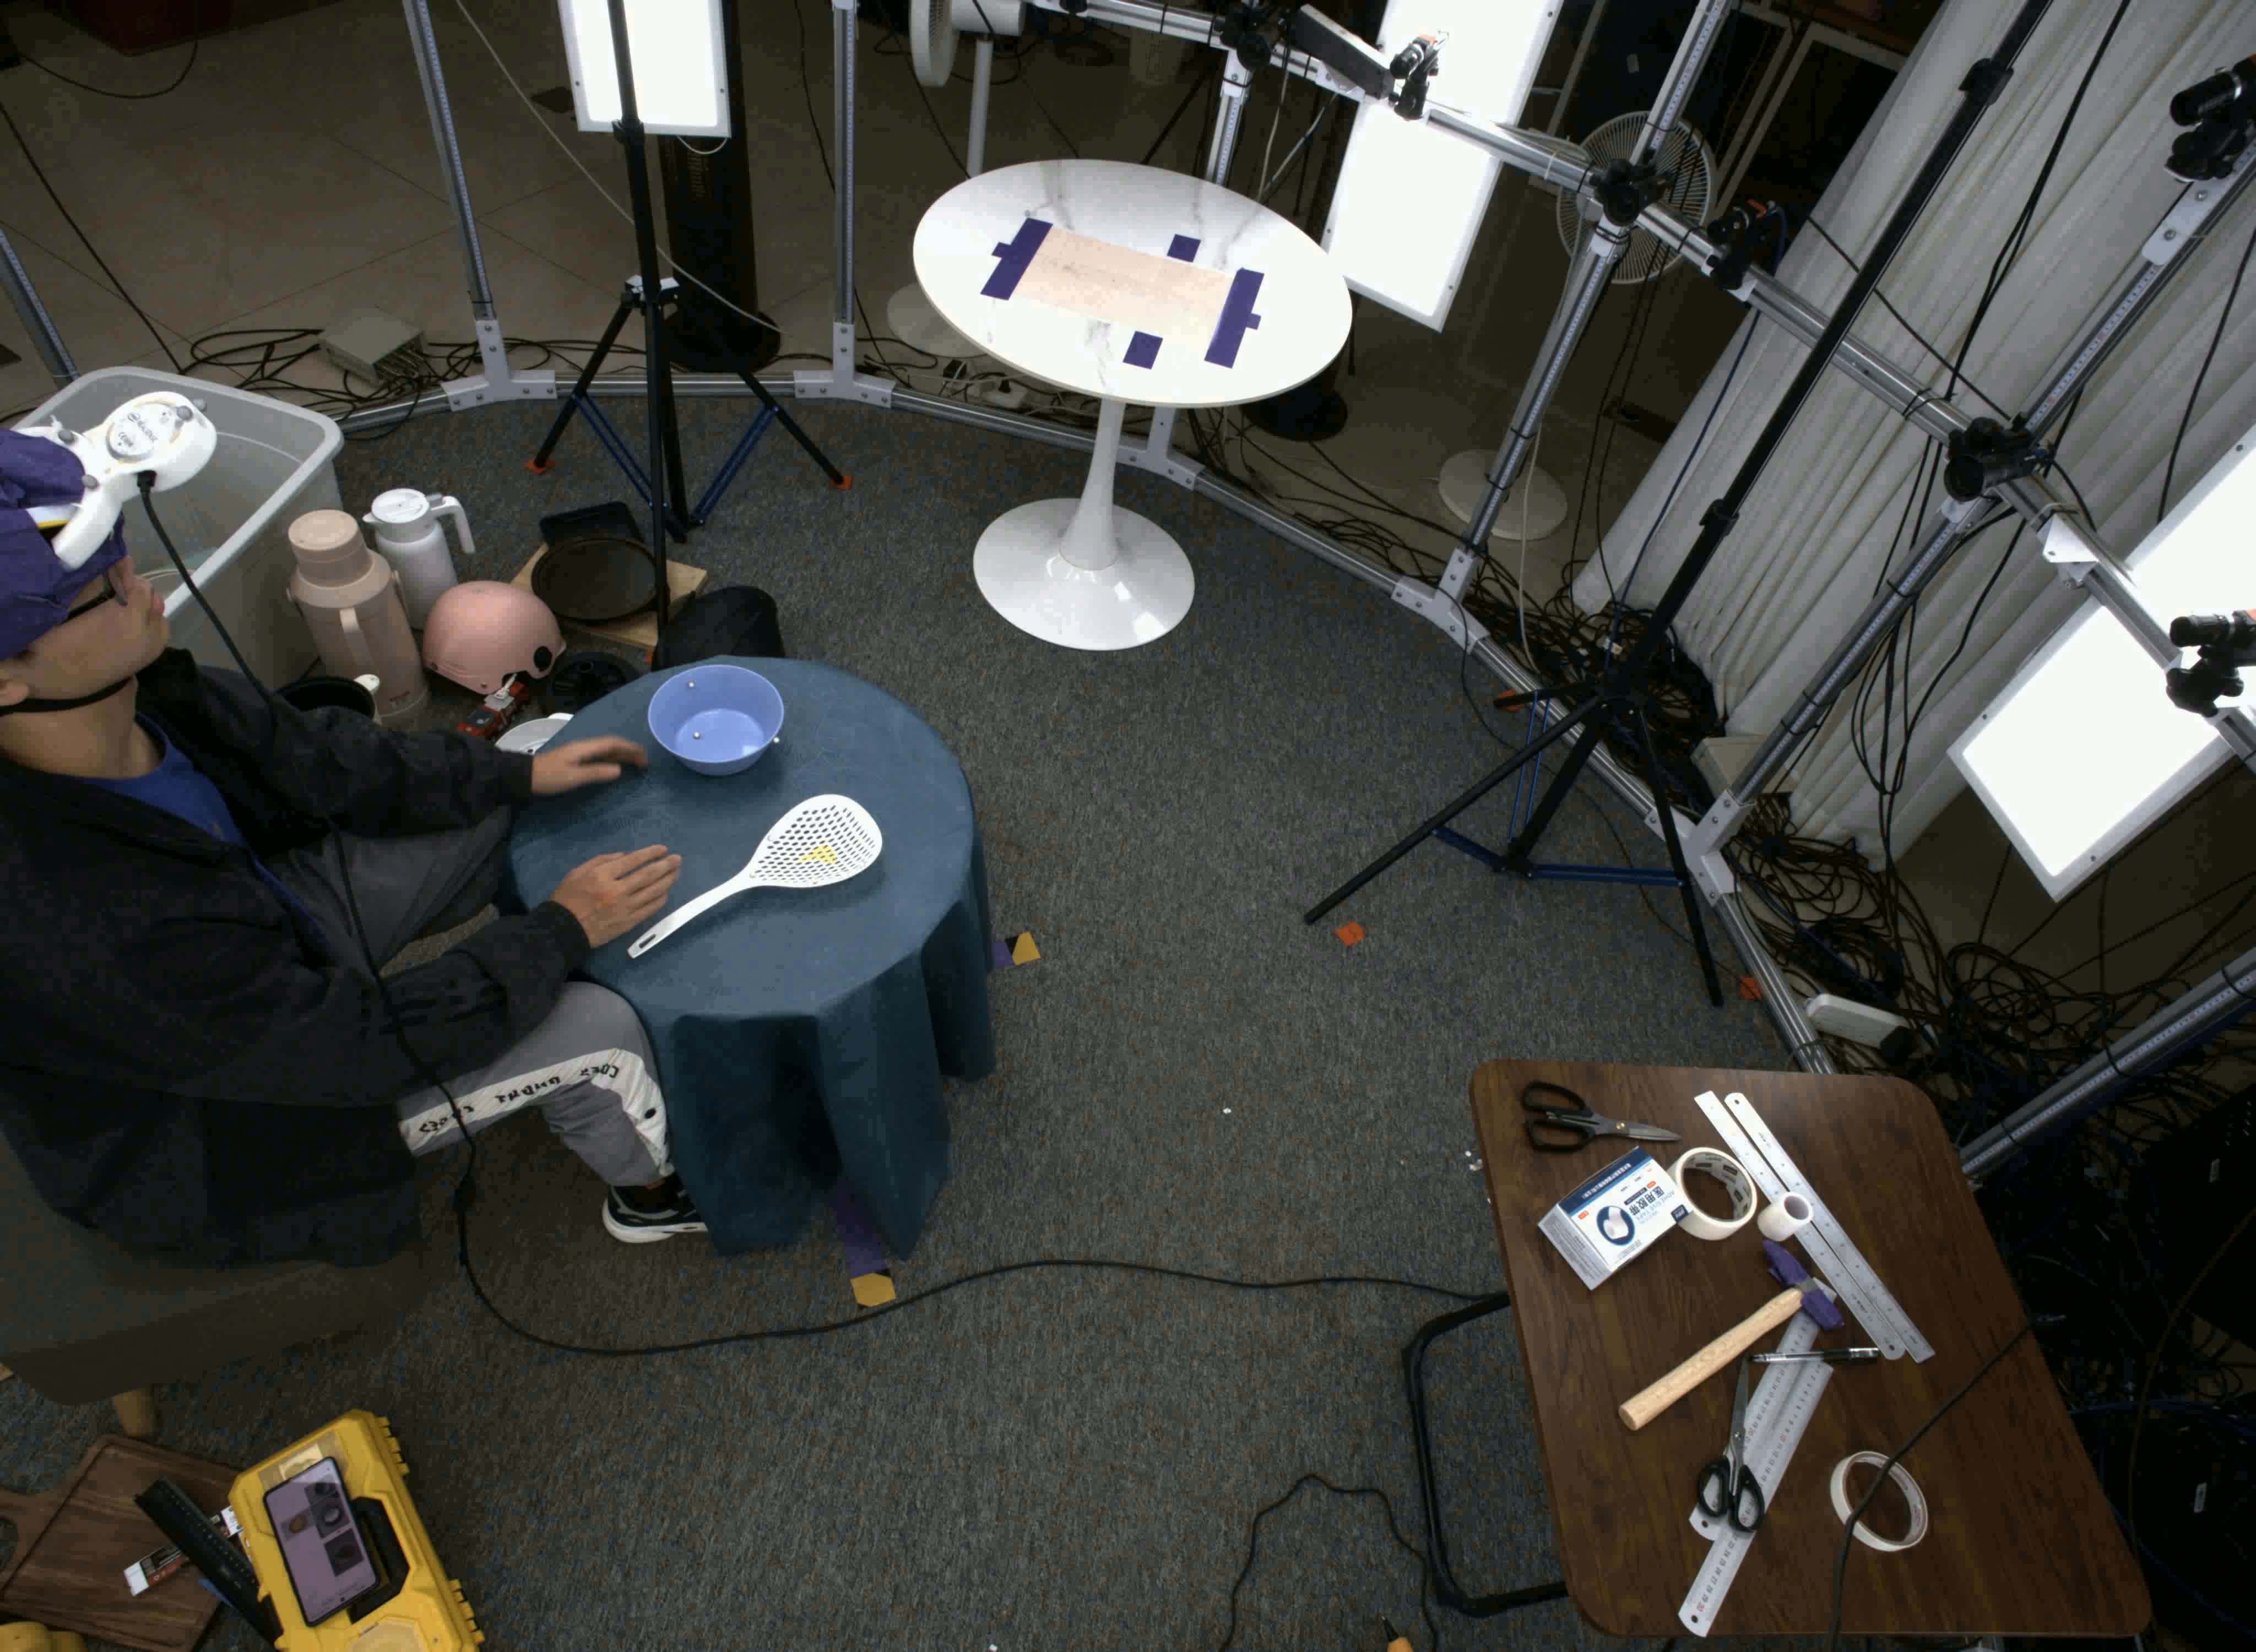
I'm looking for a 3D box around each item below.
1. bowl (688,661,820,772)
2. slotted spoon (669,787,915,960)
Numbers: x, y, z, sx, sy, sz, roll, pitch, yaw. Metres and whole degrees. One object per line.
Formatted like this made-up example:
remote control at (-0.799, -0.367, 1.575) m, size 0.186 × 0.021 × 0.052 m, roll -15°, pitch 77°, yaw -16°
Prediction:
bowl at (-0.510, -0.140, 1.771) m, size 0.175 × 0.072 × 0.173 m, roll 7°, pitch 52°, yaw -8°
slotted spoon at (-0.434, 0.065, 1.656) m, size 0.349 × 0.051 × 0.134 m, roll -29°, pitch 69°, yaw -30°
